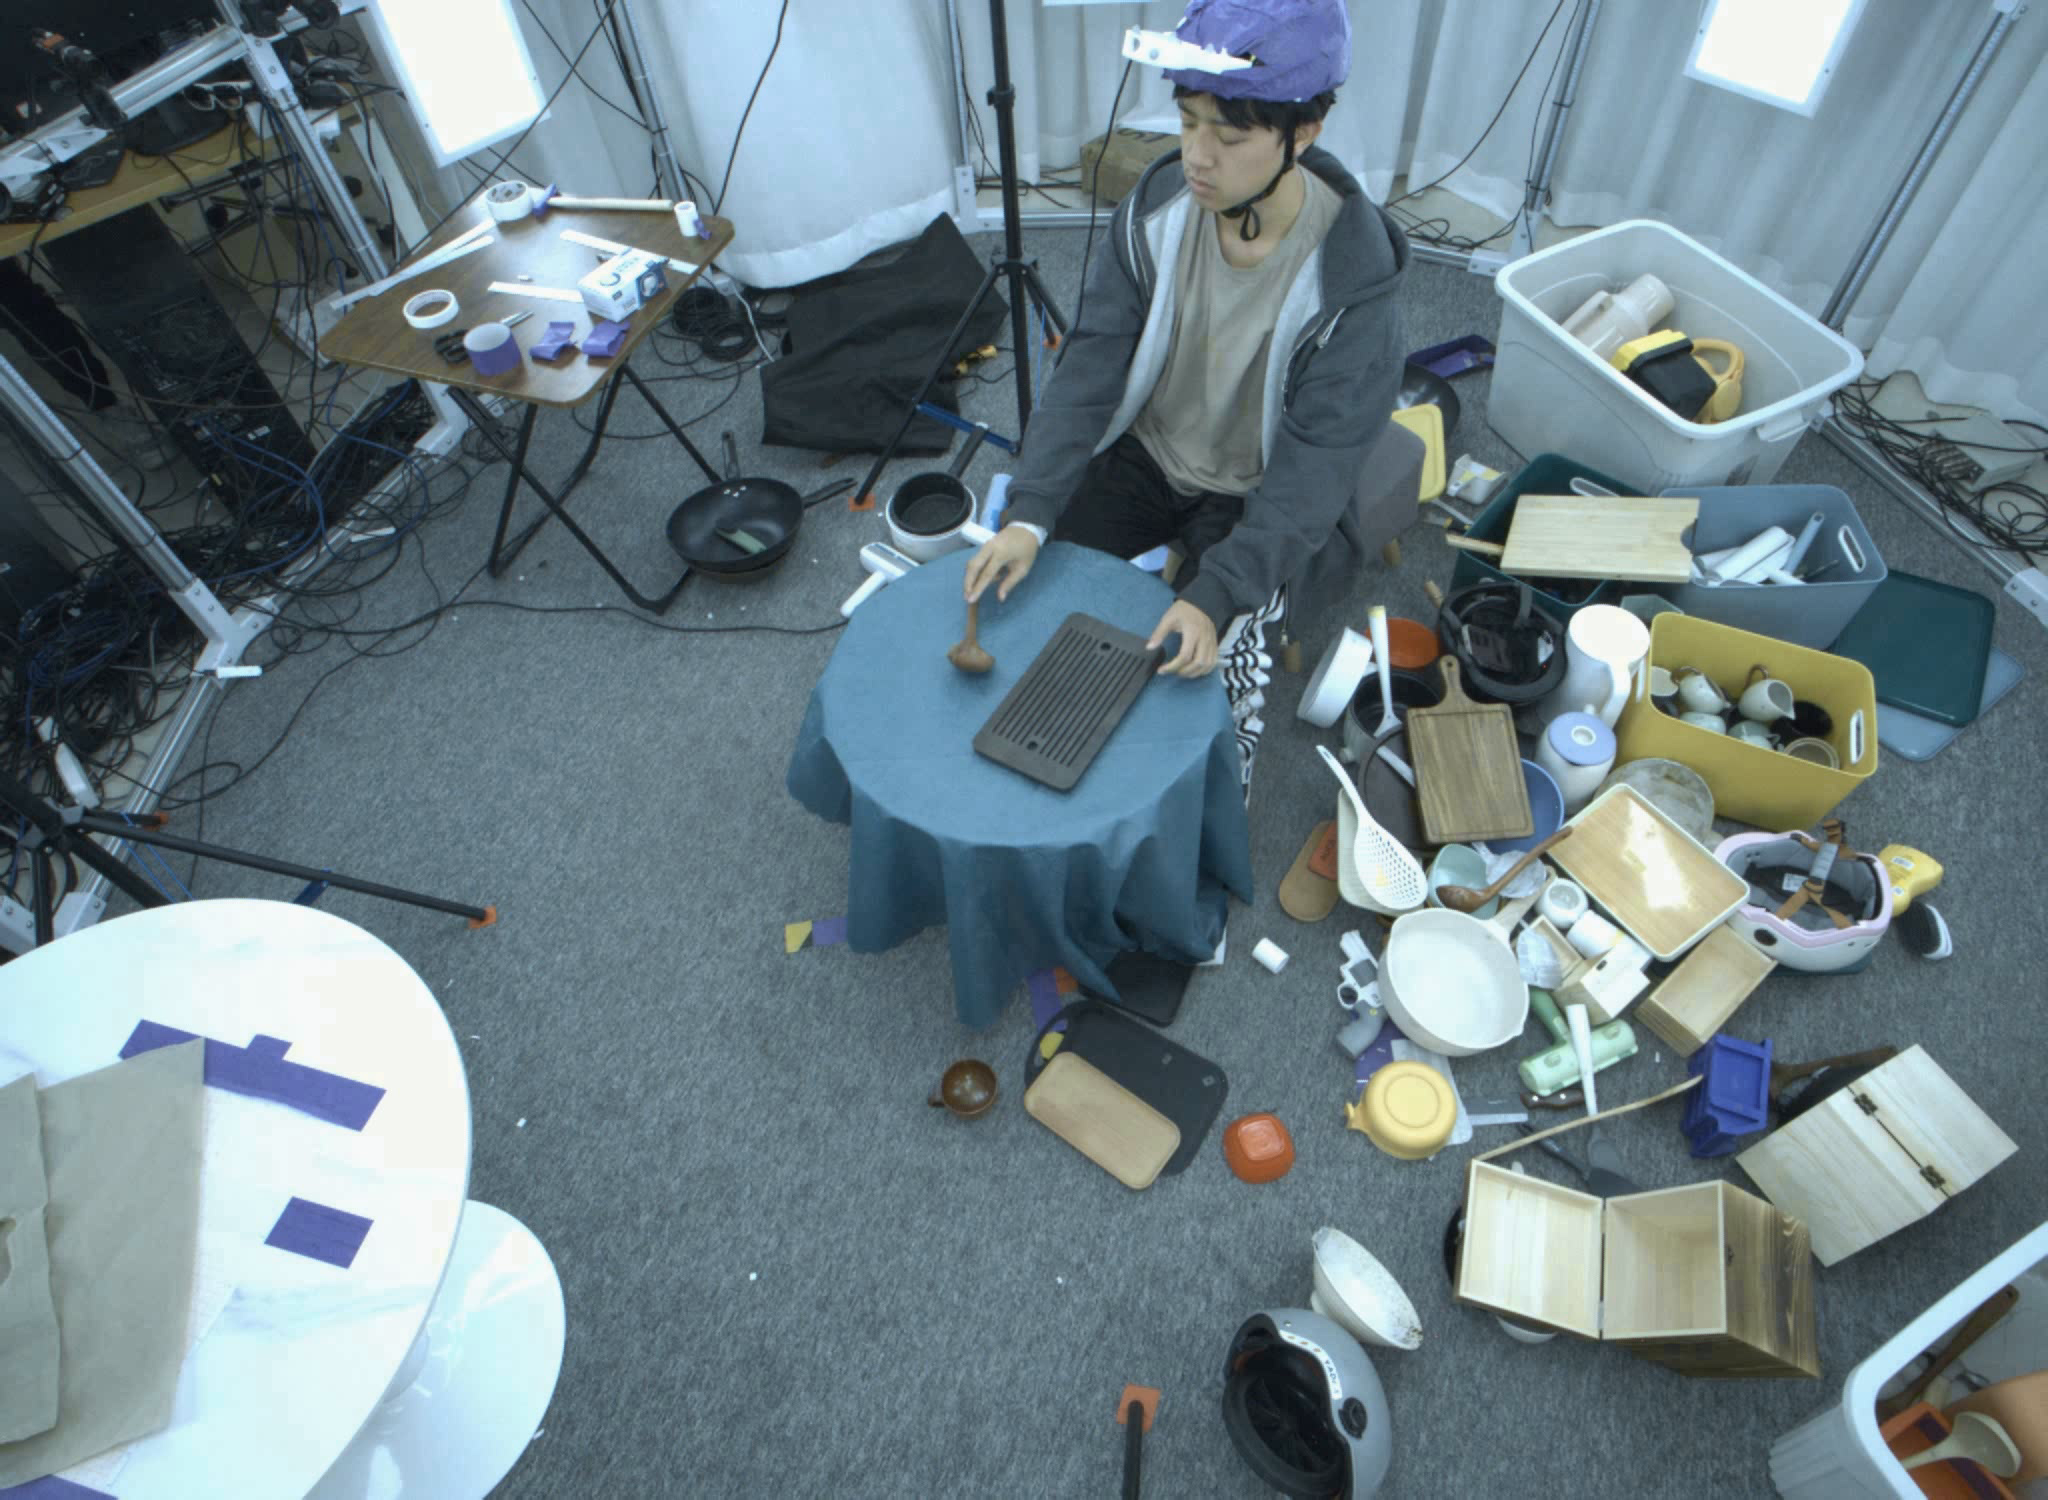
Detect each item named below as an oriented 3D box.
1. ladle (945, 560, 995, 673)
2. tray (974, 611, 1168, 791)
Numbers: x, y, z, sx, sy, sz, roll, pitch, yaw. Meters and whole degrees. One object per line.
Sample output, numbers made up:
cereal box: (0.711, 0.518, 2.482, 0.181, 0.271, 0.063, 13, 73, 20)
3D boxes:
ladle: (-0.080, -0.219, 1.909, 0.077, 0.065, 0.257, 15, 52, -17)
tray: (0.073, -0.077, 1.831, 0.168, 0.019, 0.307, 26, 59, 19)
